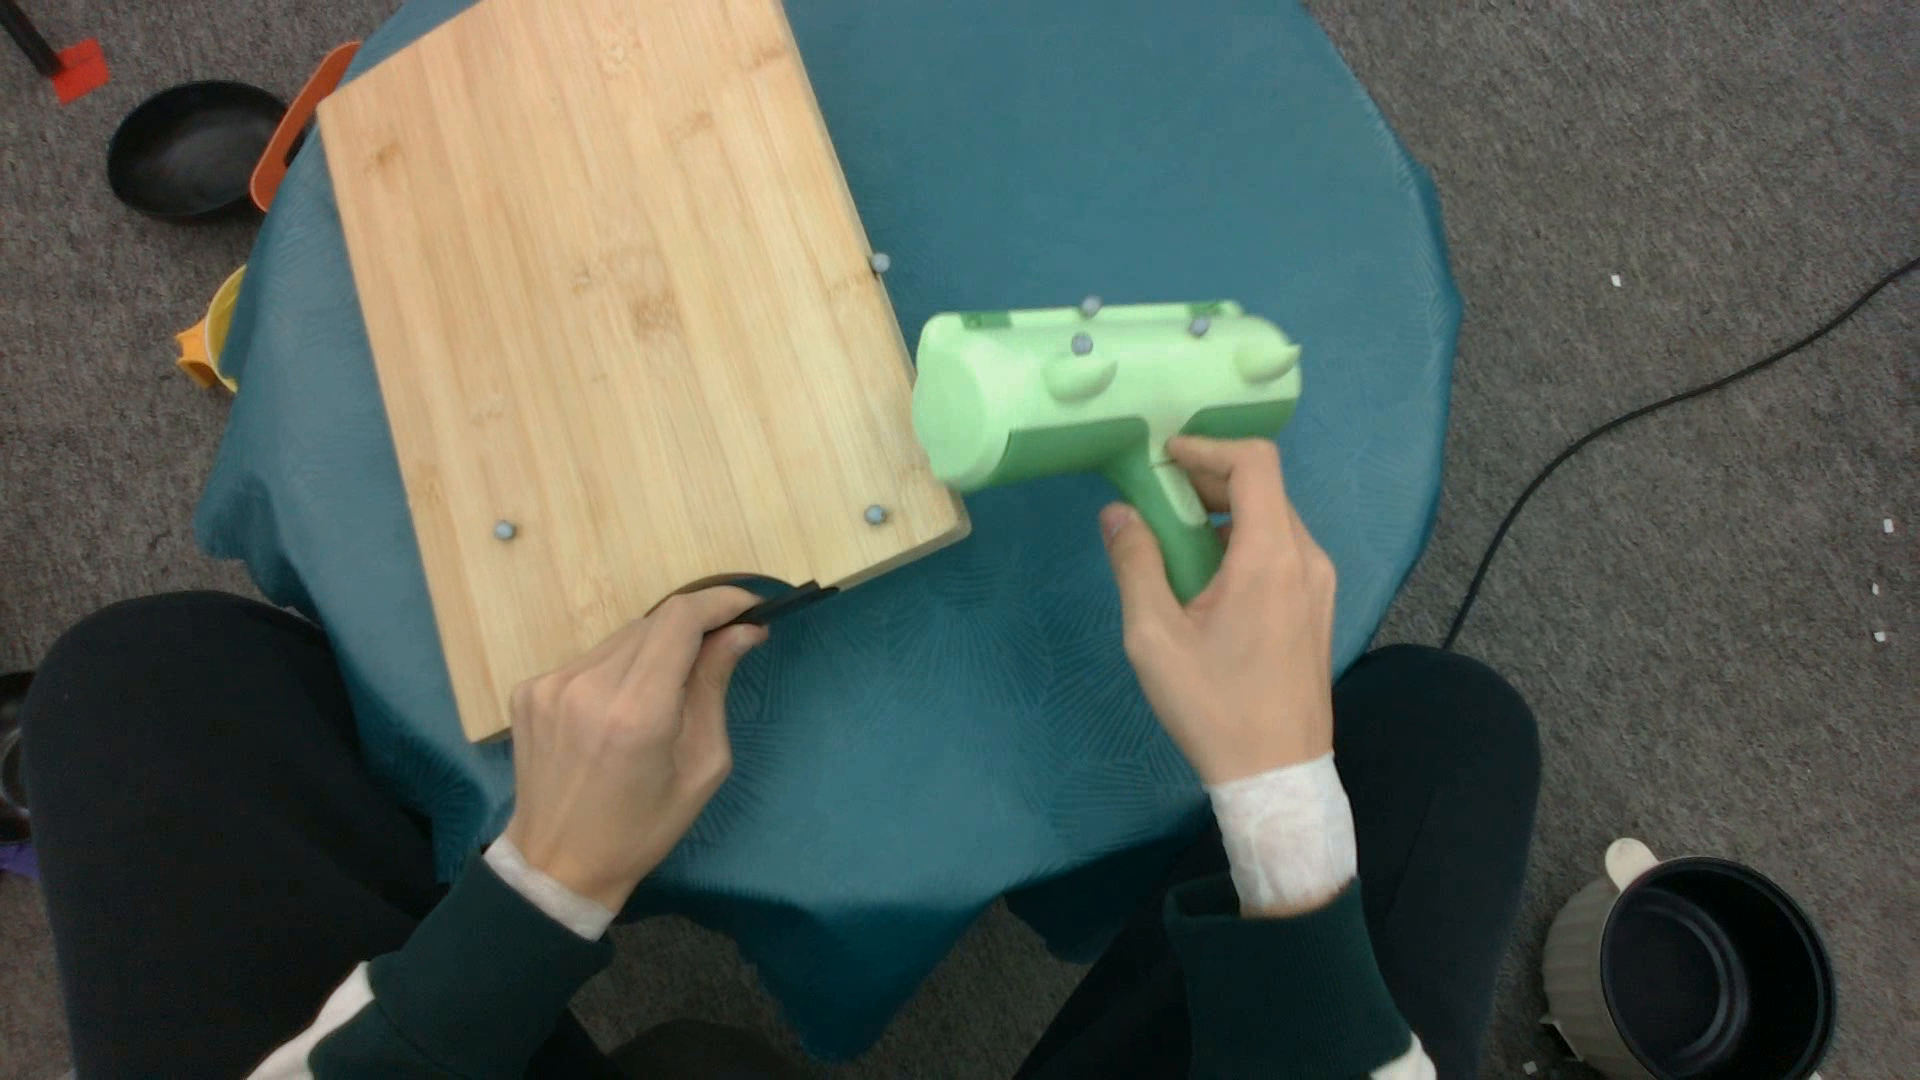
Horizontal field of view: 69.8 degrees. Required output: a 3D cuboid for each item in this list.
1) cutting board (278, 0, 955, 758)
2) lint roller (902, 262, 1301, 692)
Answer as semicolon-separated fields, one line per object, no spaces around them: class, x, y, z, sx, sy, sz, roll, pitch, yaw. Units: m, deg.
cutting board;-0.170;-0.109;0.623;0.250;0.023;0.349;-26;73;11
lint roller;0.089;-0.034;0.557;0.199;0.082;0.183;-10;68;-37
